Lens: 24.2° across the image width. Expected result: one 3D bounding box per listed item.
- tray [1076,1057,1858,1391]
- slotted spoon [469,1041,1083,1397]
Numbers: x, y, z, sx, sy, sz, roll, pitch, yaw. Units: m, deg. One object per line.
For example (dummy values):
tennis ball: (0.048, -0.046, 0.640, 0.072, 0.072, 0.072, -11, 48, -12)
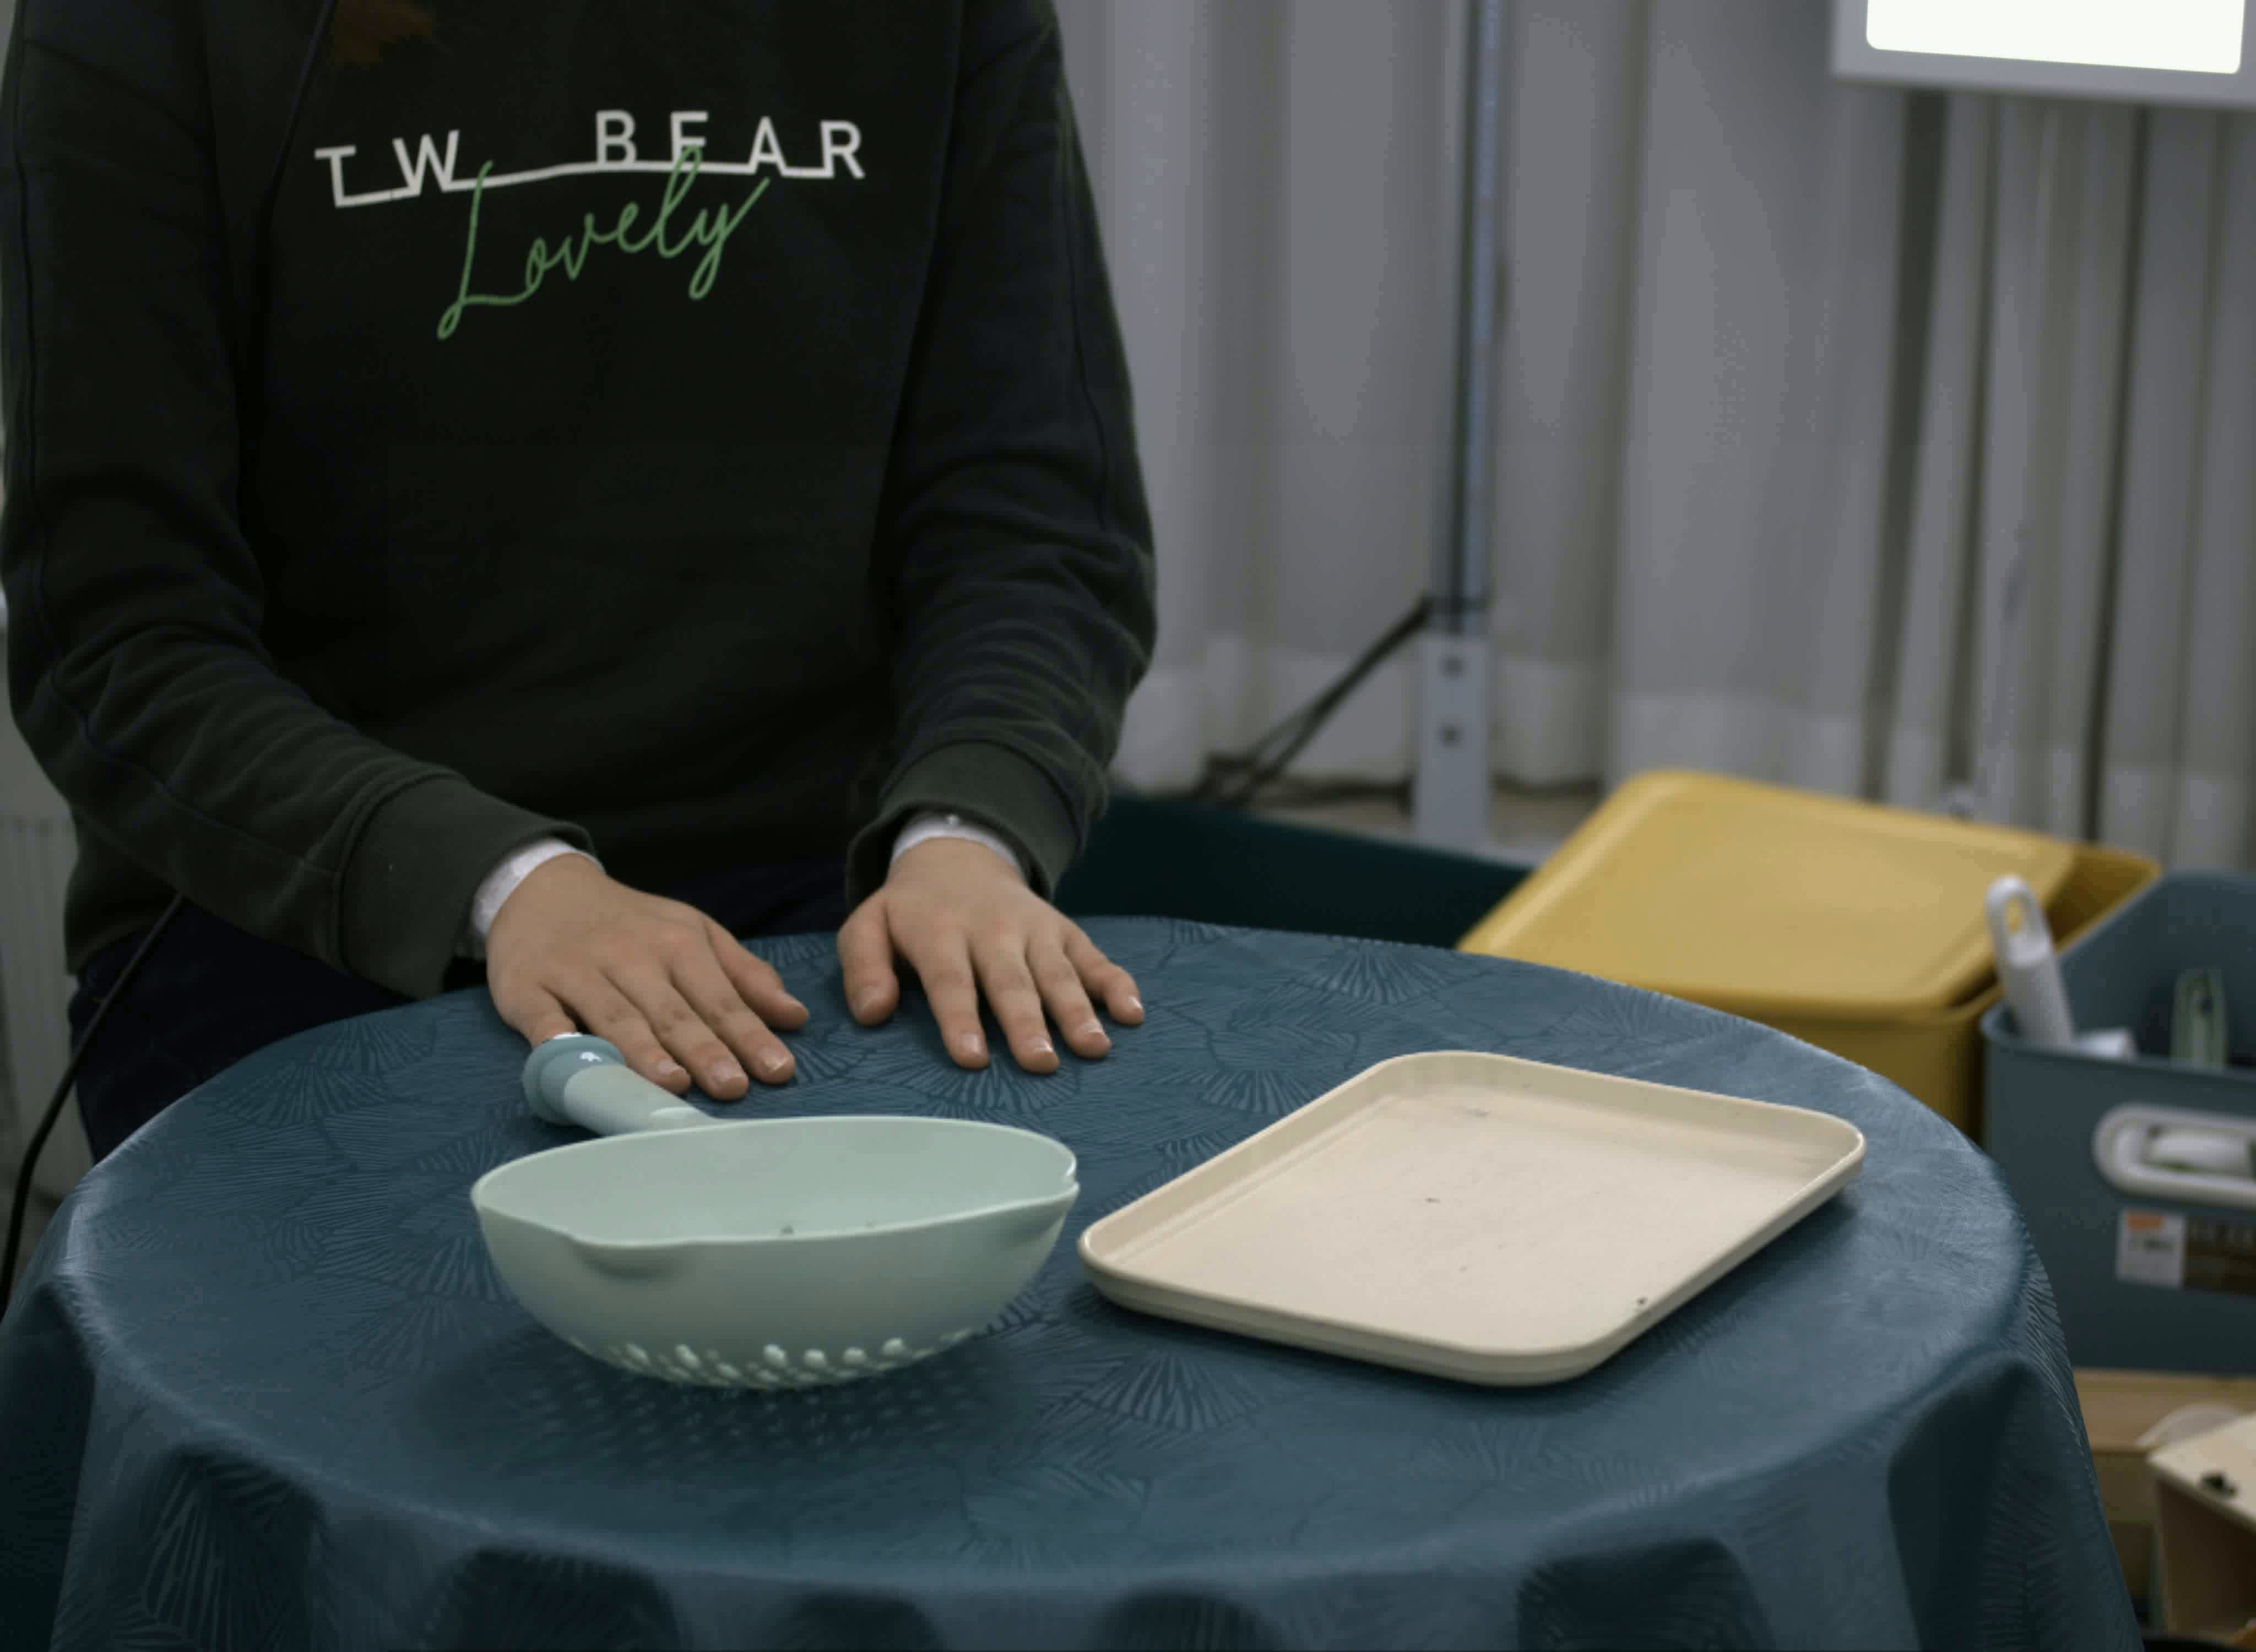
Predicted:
tray: (0.105, 0.118, 1.583, 0.169, 0.017, 0.240, 10, 17, 28)
slotted spoon: (-0.129, 0.099, 1.553, 0.170, 0.076, 0.355, -4, 16, -19)
